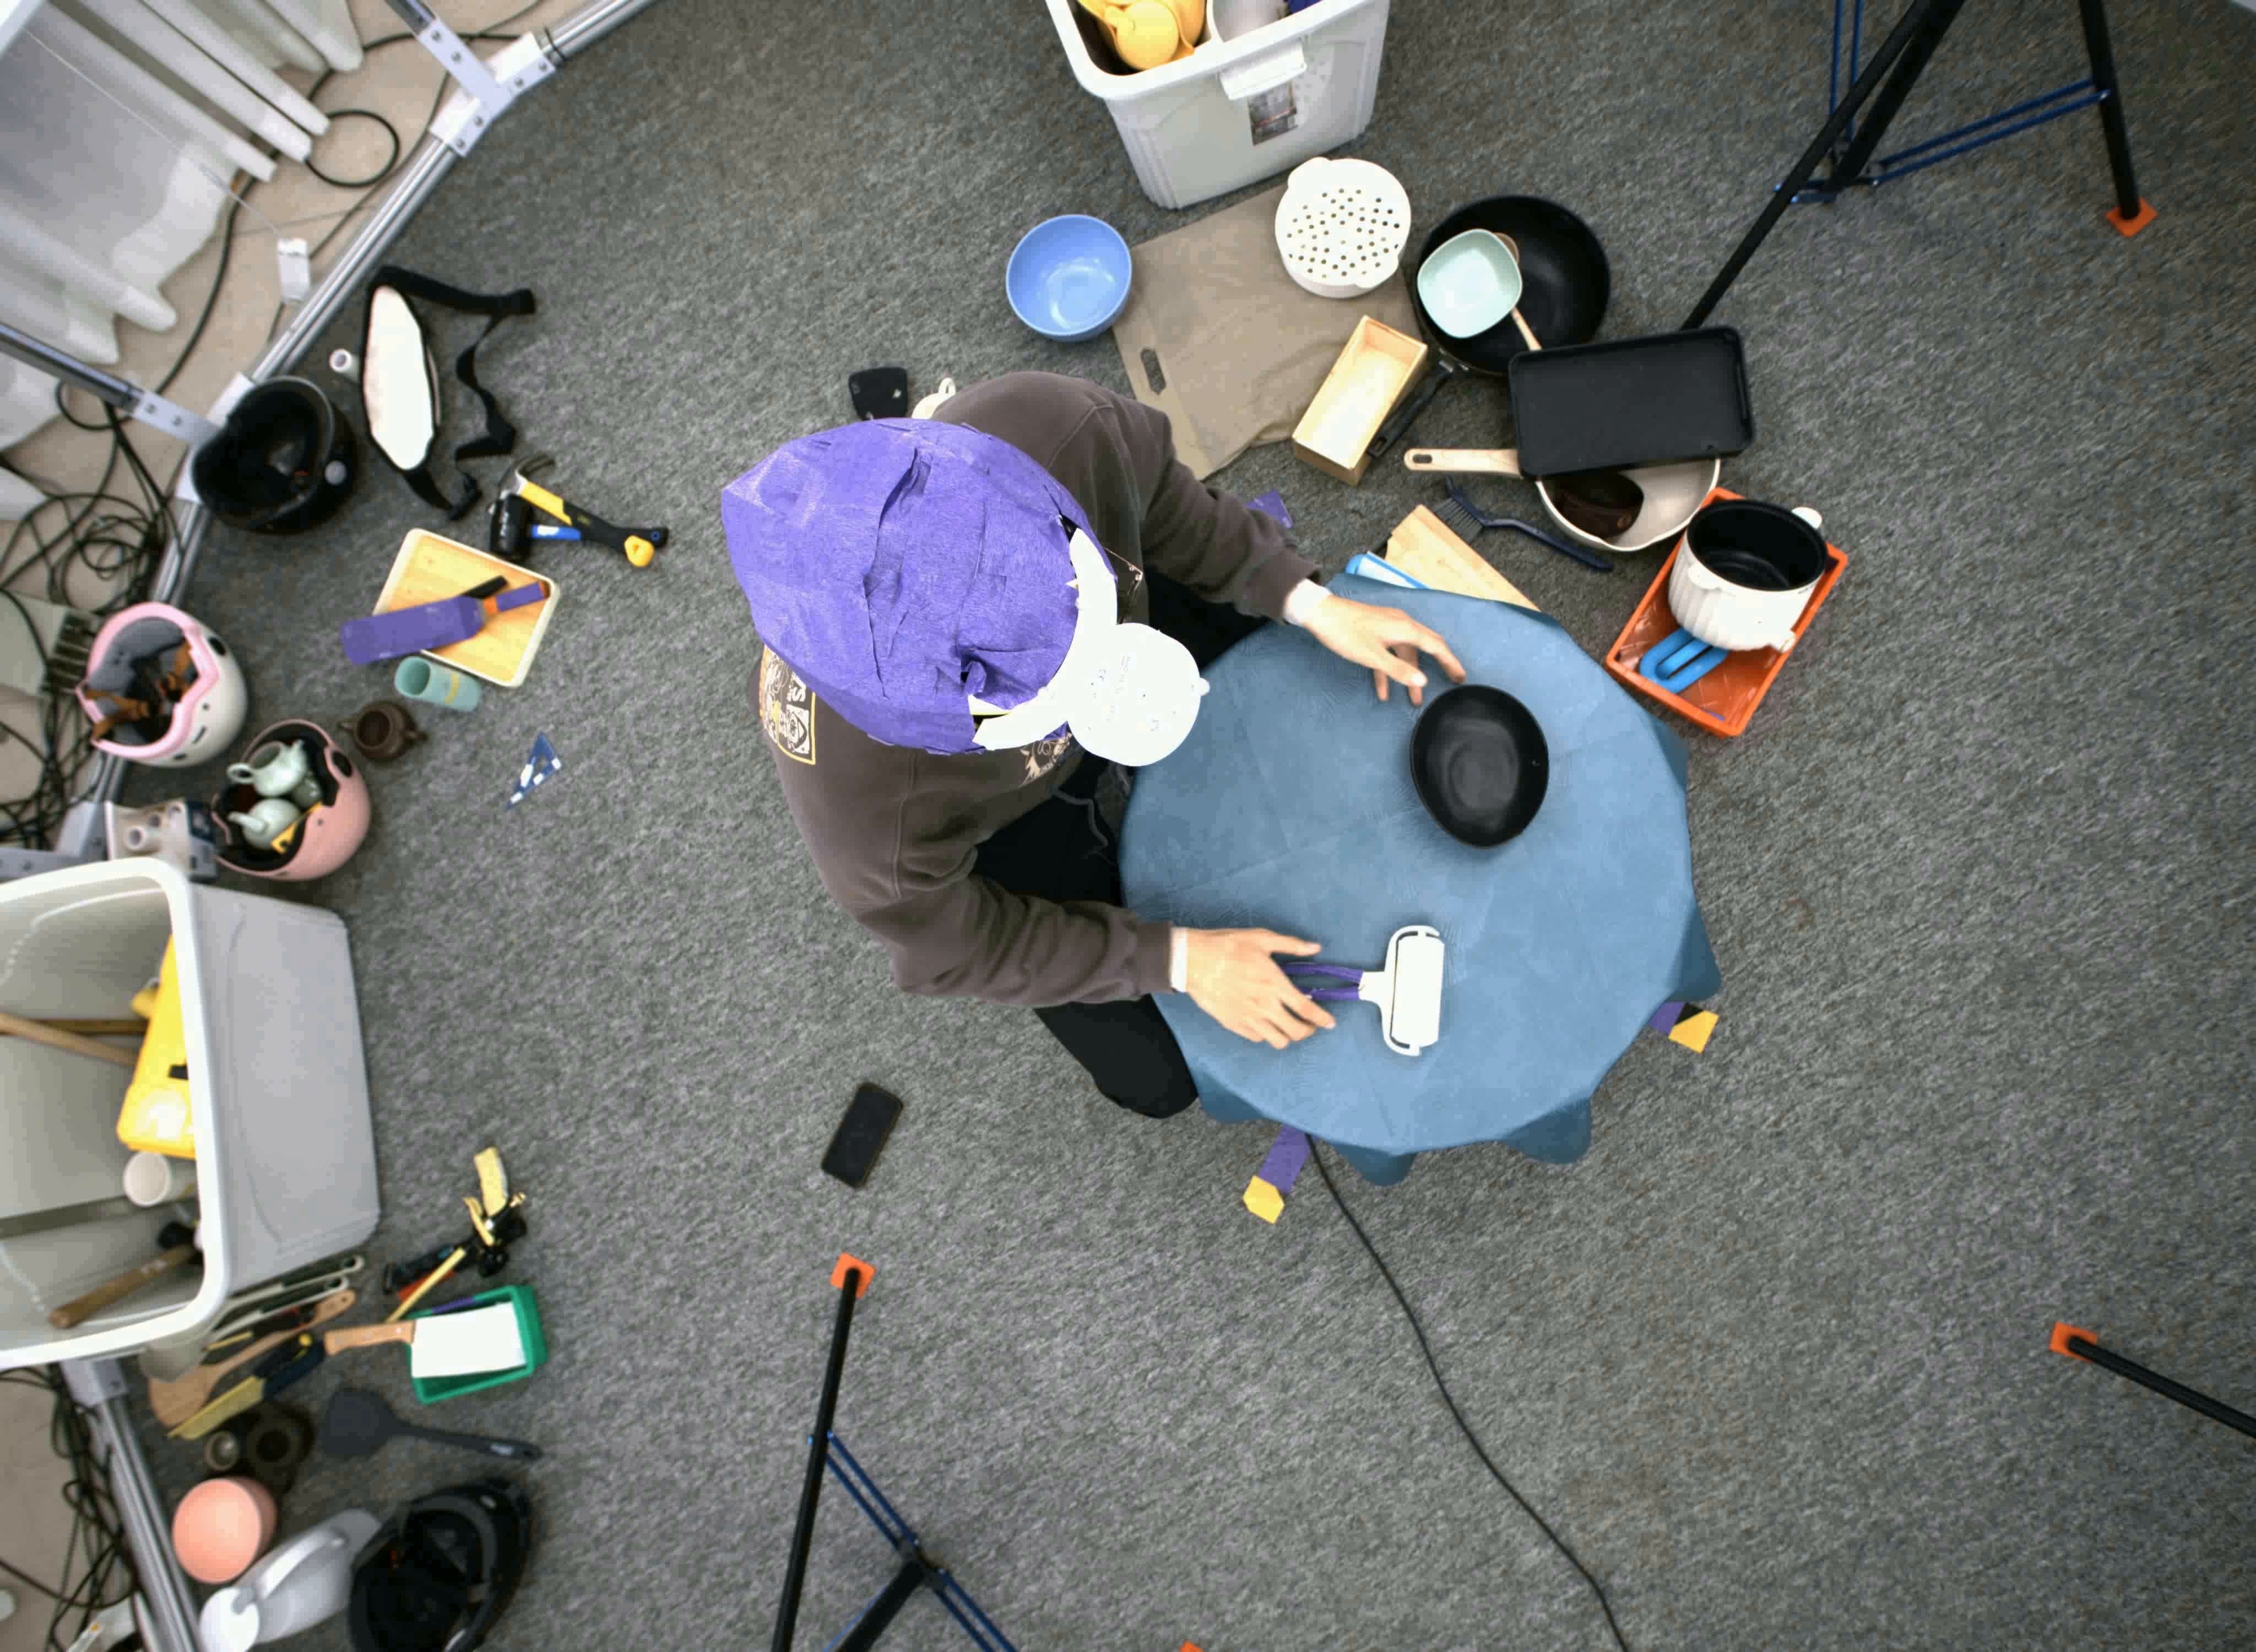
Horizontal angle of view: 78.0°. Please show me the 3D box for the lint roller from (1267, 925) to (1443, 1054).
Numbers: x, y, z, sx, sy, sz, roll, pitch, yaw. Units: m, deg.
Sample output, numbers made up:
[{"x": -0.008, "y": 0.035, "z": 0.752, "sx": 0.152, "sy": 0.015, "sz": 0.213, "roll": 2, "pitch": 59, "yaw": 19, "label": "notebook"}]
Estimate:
[{"x": 0.234, "y": 0.160, "z": 1.436, "sx": 0.181, "sy": 0.050, "sz": 0.132, "roll": 6, "pitch": 88, "yaw": 8, "label": "lint roller"}]

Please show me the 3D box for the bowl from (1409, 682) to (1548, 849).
[{"x": 0.360, "y": -0.063, "z": 1.415, "sx": 0.138, "sy": 0.066, "sz": 0.169, "roll": -11, "pitch": 87, "yaw": 11, "label": "bowl"}]
